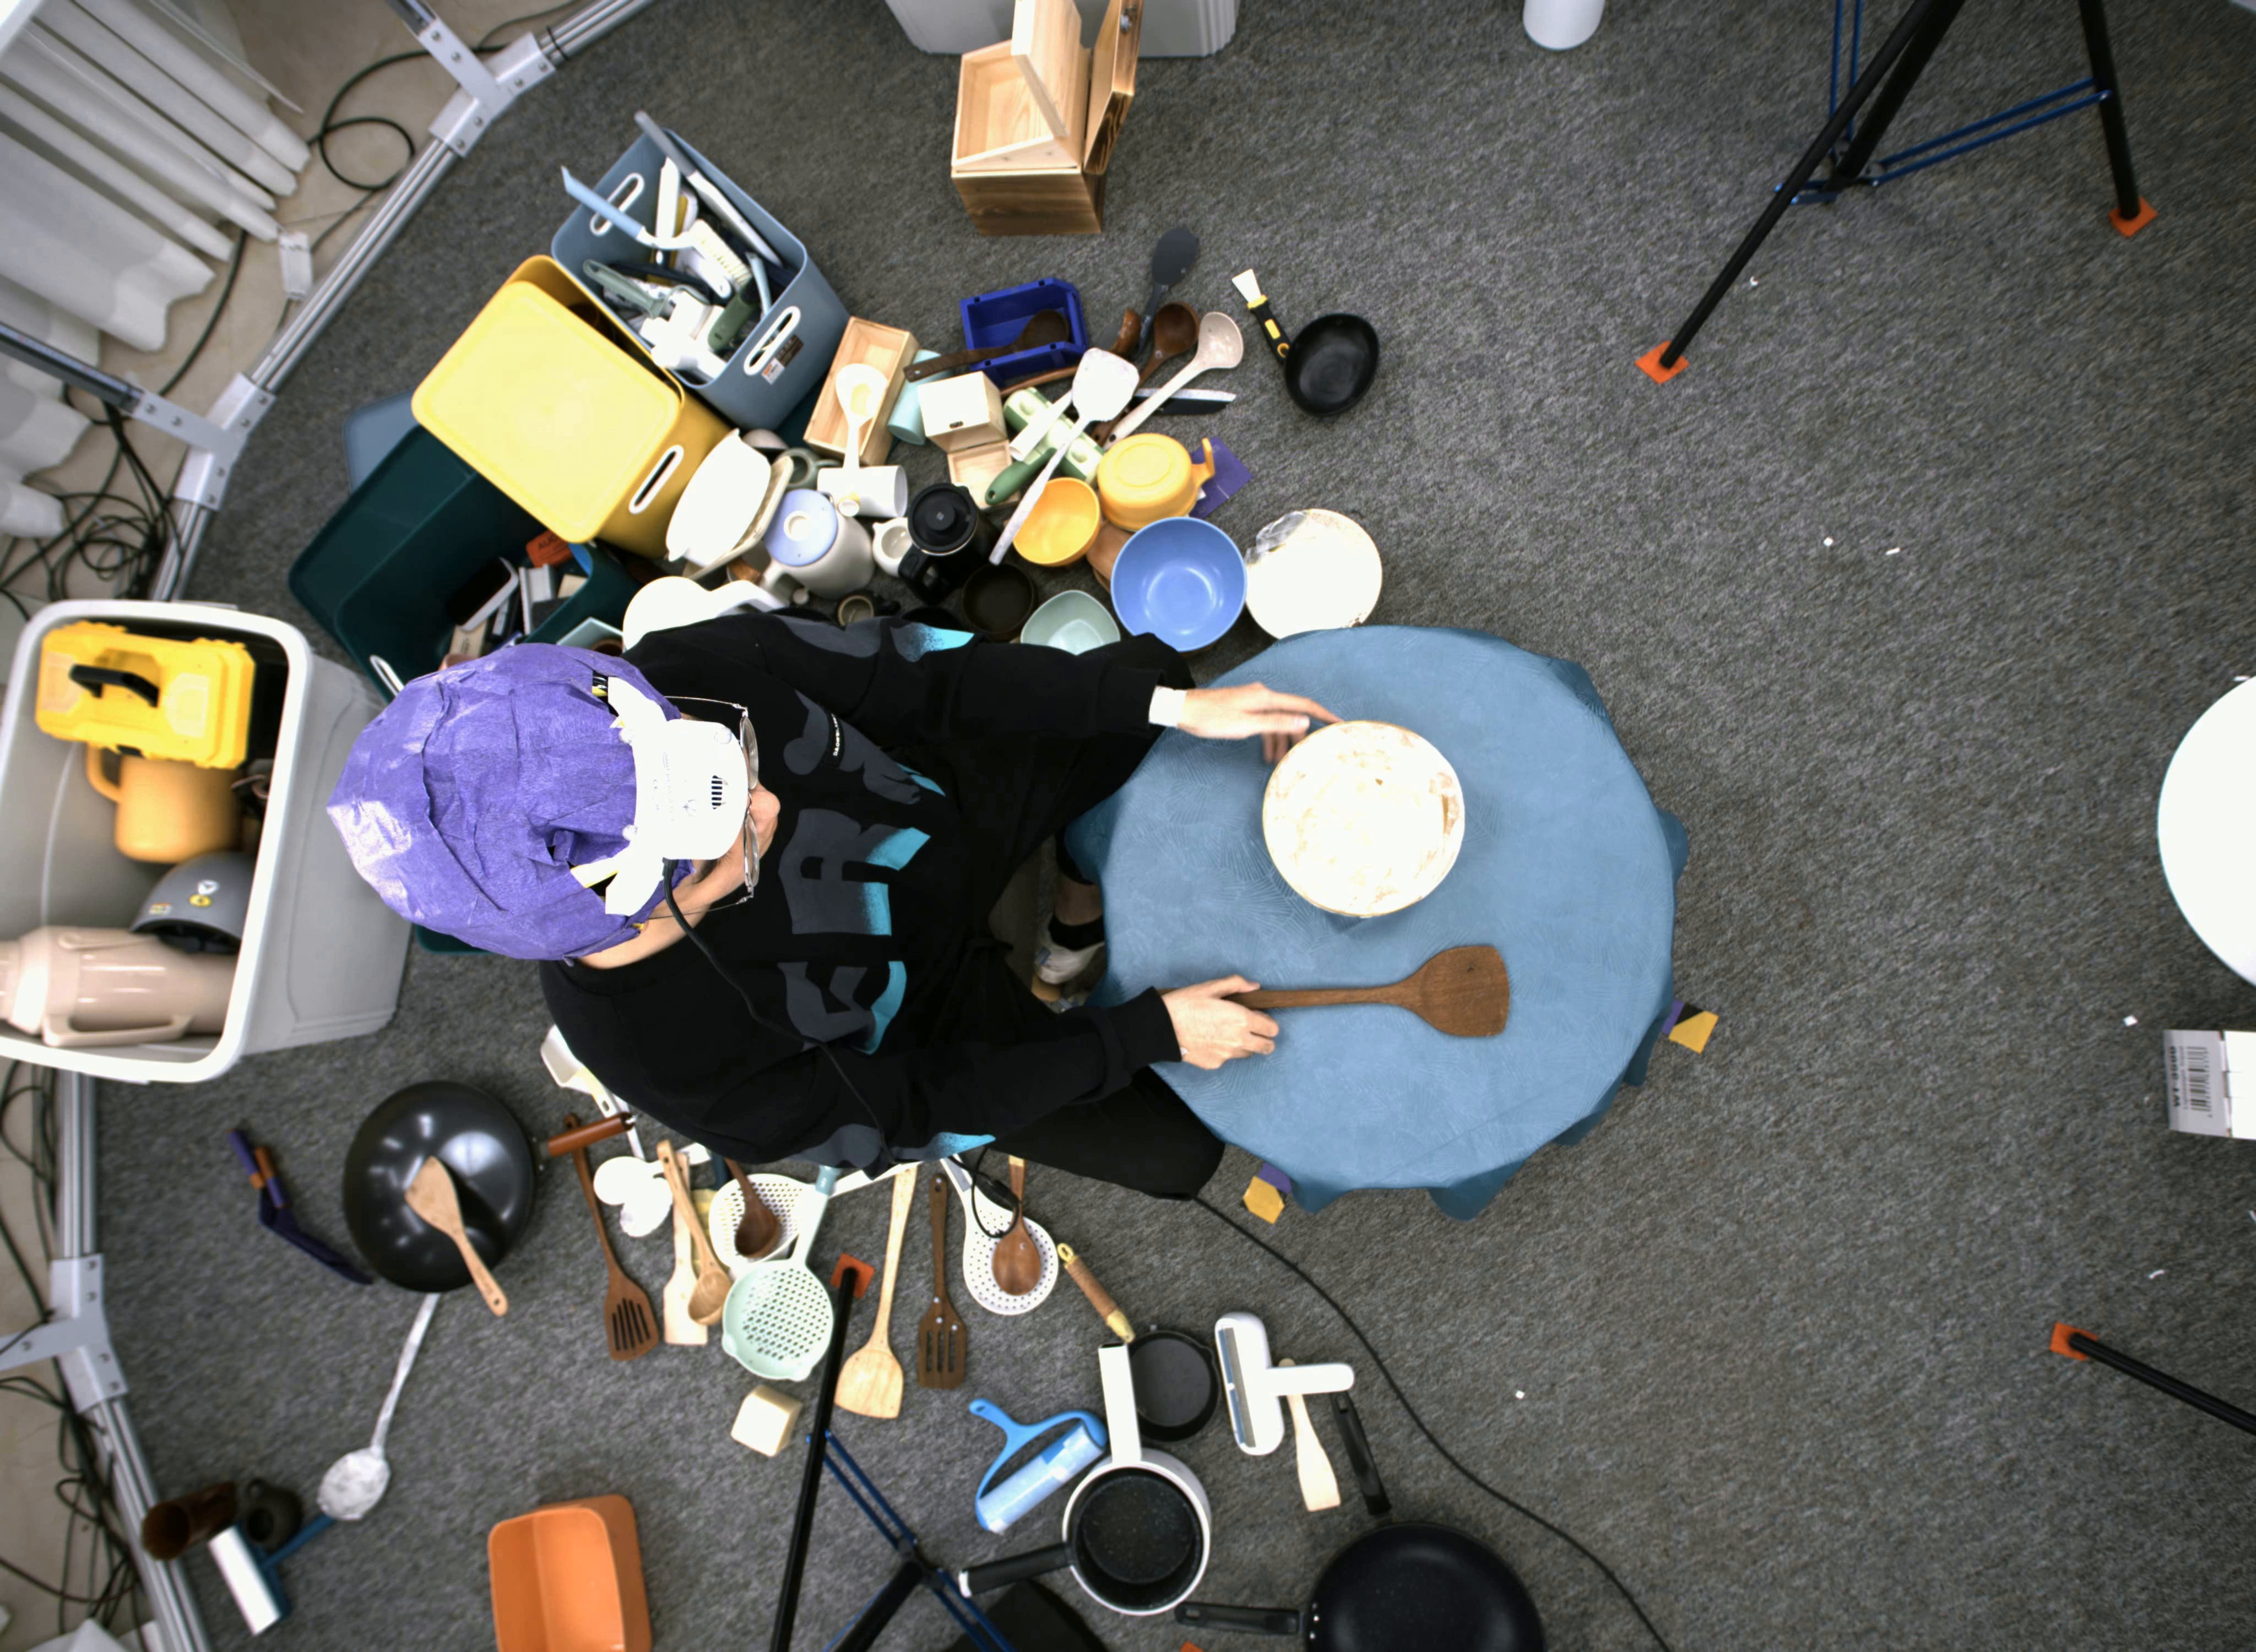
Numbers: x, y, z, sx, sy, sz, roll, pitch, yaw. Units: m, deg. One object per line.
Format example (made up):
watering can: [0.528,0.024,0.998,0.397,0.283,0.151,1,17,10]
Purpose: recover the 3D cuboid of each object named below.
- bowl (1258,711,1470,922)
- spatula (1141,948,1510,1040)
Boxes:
bowl: [0.243,-0.006,1.427,0.215,0.094,0.214,-1,87,11]
spatula: [0.206,0.182,1.456,0.387,0.016,0.095,-3,84,7]
